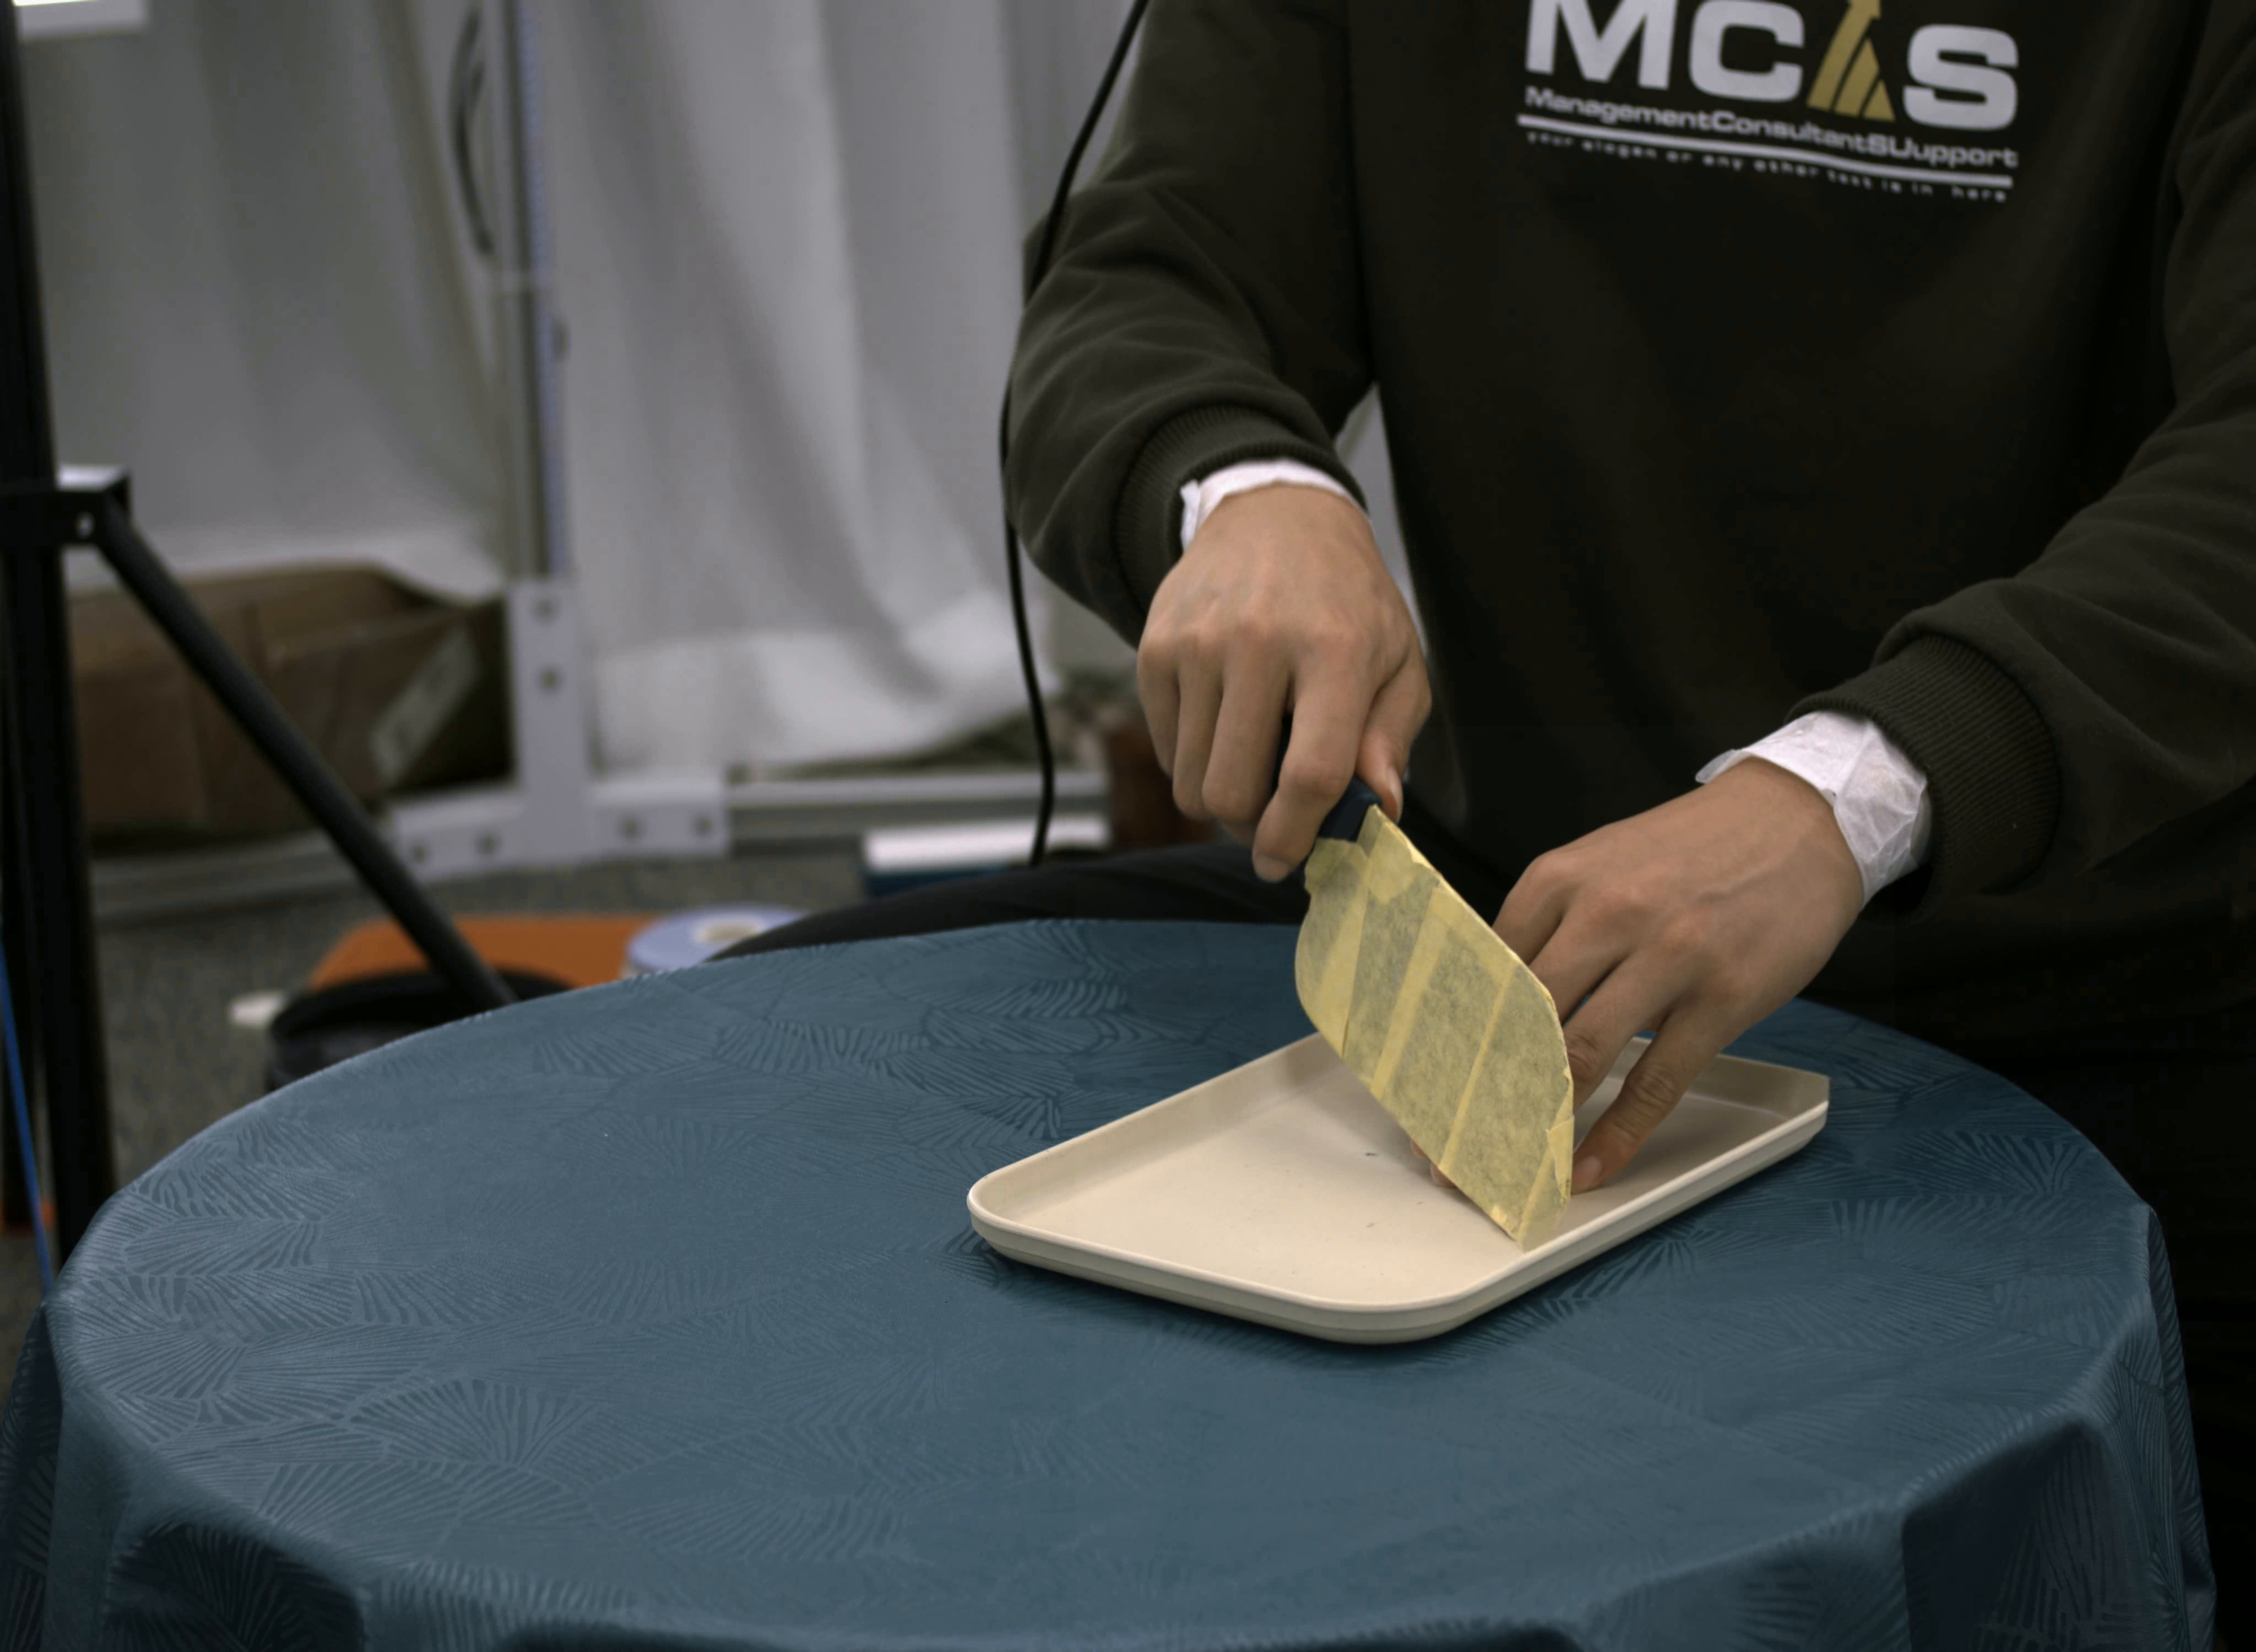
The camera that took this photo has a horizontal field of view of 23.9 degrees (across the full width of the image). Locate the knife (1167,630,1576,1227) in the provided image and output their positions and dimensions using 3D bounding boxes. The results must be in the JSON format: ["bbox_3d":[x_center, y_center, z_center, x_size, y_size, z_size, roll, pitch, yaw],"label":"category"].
[{"bbox_3d":[0.070,0.027,1.590,0.026,0.081,0.295,7,28,-28],"label":"knife"}]

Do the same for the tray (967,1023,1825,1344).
[{"bbox_3d":[0.081,0.100,1.546,0.175,0.017,0.234,10,20,39],"label":"tray"}]
